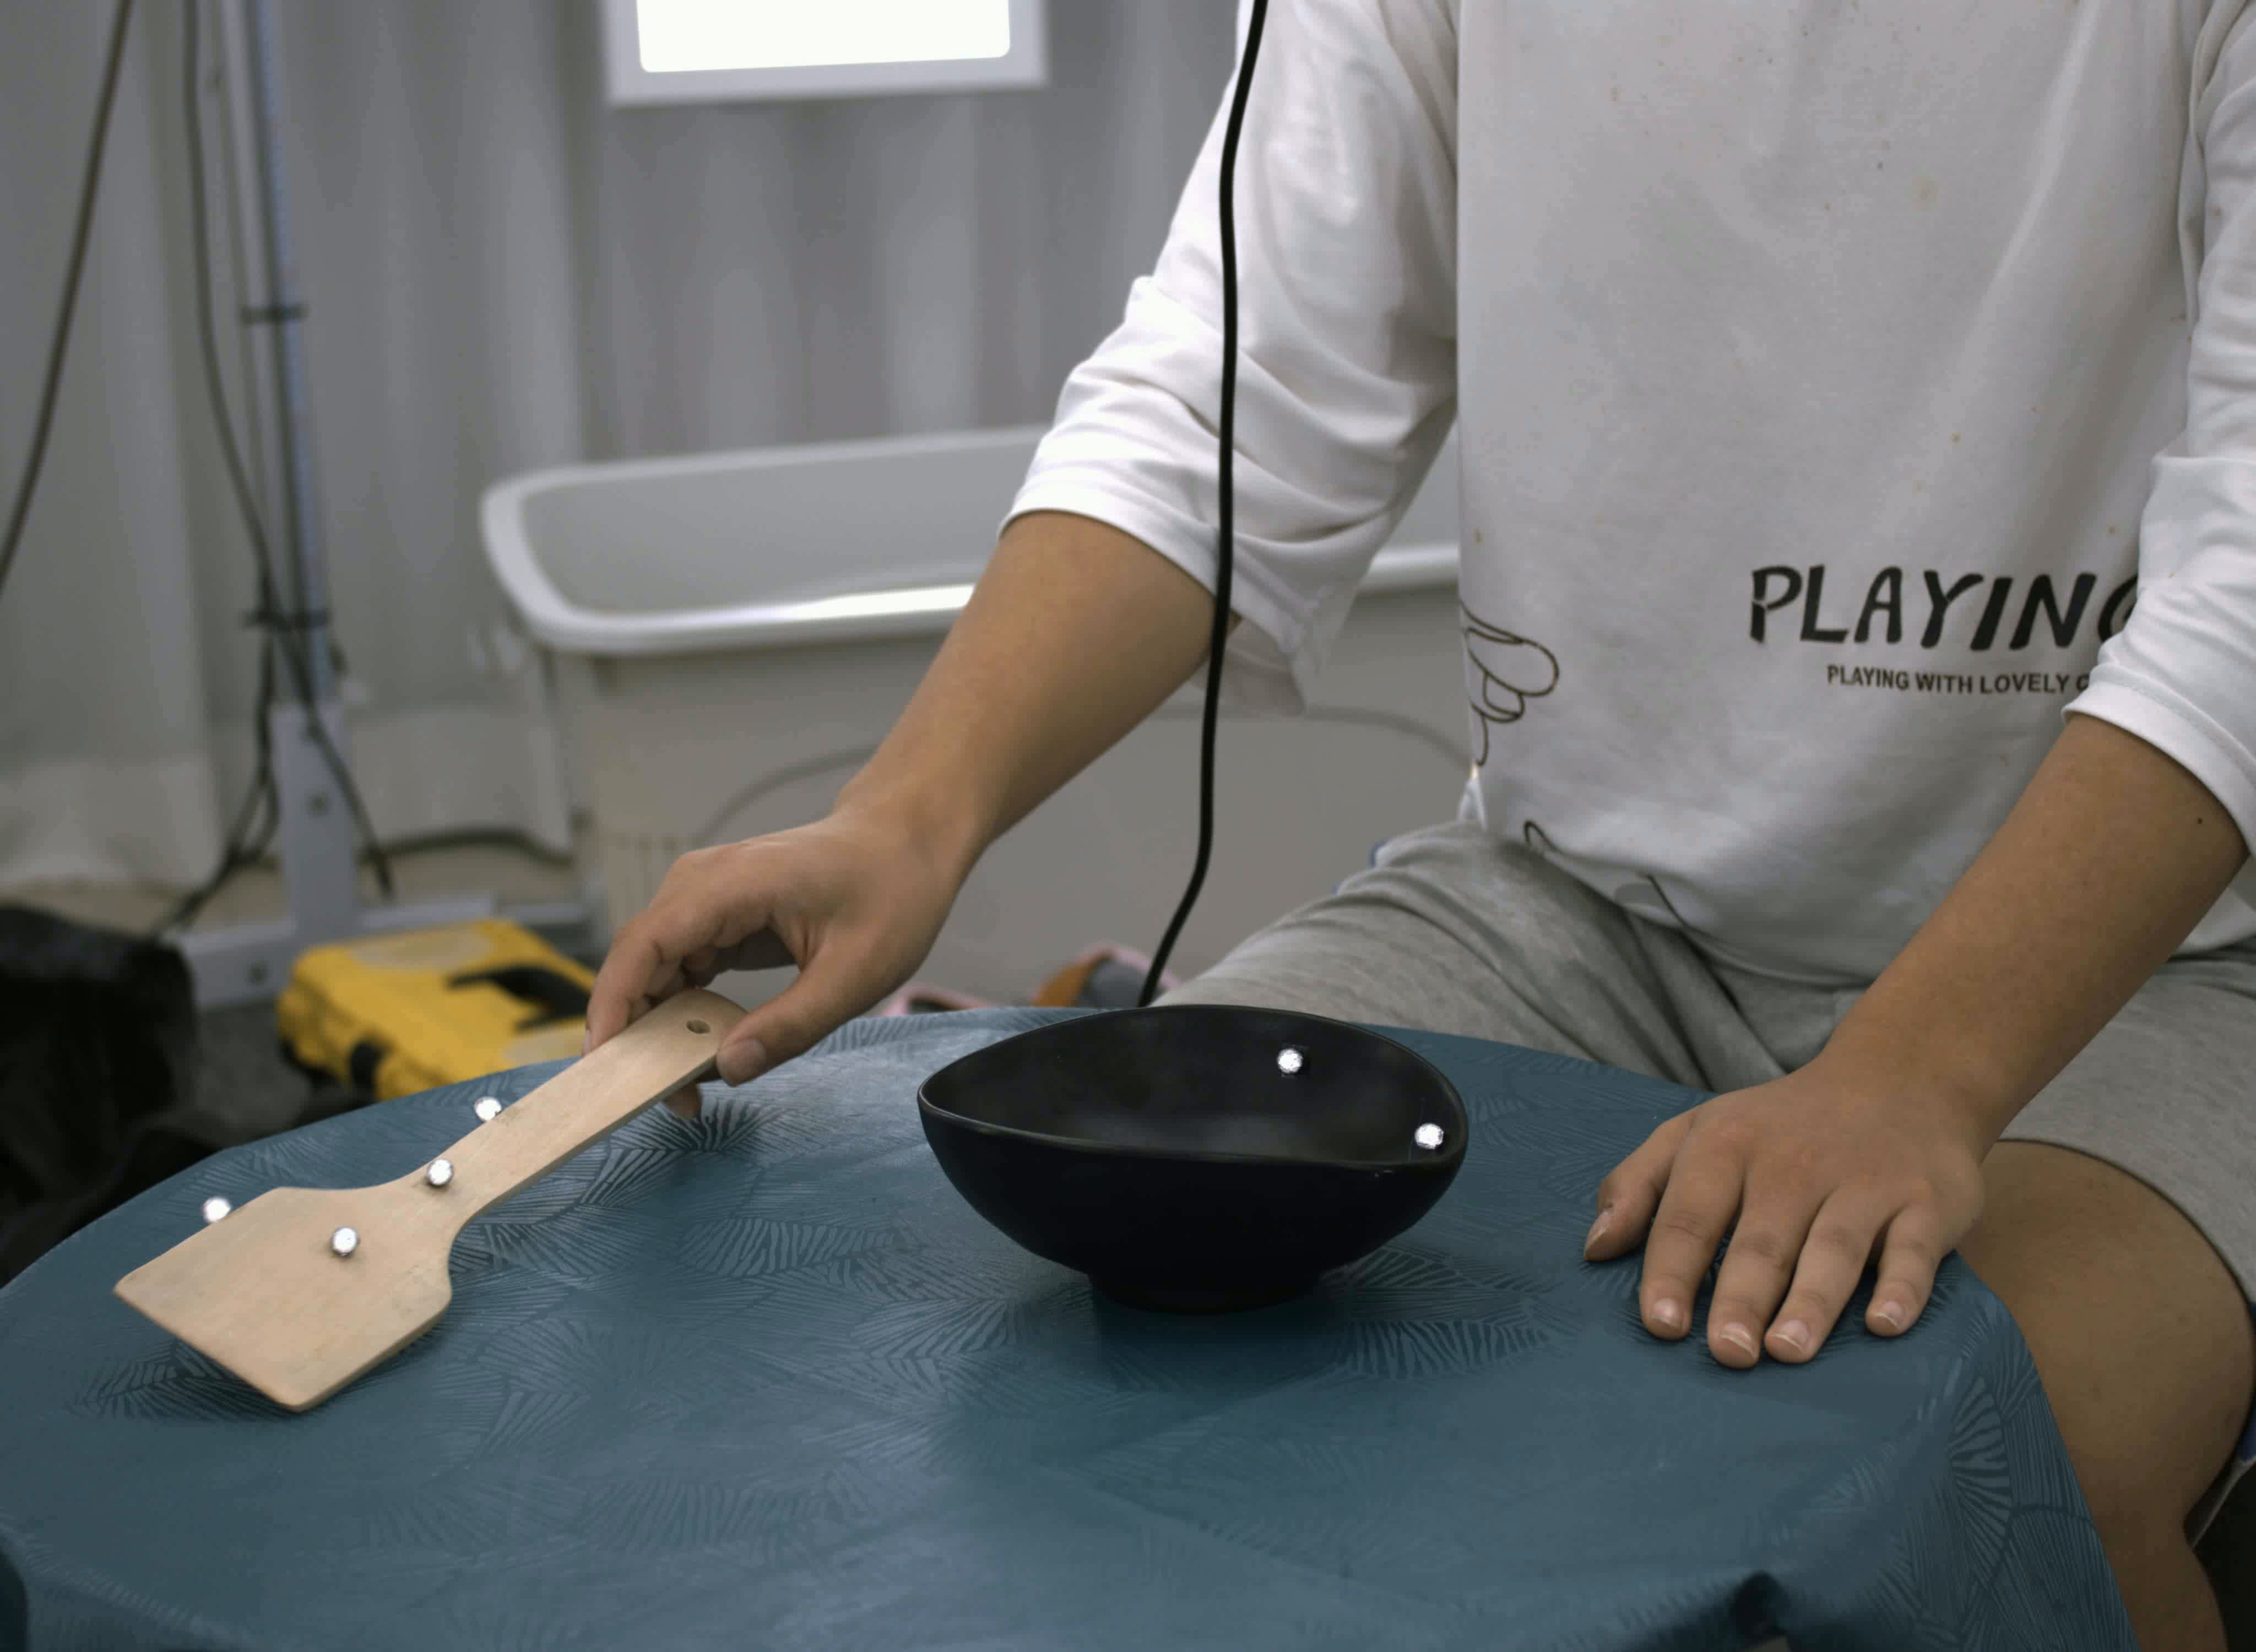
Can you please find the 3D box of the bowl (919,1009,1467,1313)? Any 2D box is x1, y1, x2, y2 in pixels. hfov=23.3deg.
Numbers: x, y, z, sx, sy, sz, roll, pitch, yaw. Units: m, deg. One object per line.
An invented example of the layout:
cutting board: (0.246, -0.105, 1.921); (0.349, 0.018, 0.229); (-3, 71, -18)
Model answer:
bowl: (0.020, 0.104, 1.632); (0.170, 0.066, 0.138); (5, 16, 21)

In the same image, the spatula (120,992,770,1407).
spatula: (-0.197, 0.107, 1.690); (0.072, 0.010, 0.294); (27, 30, 19)
